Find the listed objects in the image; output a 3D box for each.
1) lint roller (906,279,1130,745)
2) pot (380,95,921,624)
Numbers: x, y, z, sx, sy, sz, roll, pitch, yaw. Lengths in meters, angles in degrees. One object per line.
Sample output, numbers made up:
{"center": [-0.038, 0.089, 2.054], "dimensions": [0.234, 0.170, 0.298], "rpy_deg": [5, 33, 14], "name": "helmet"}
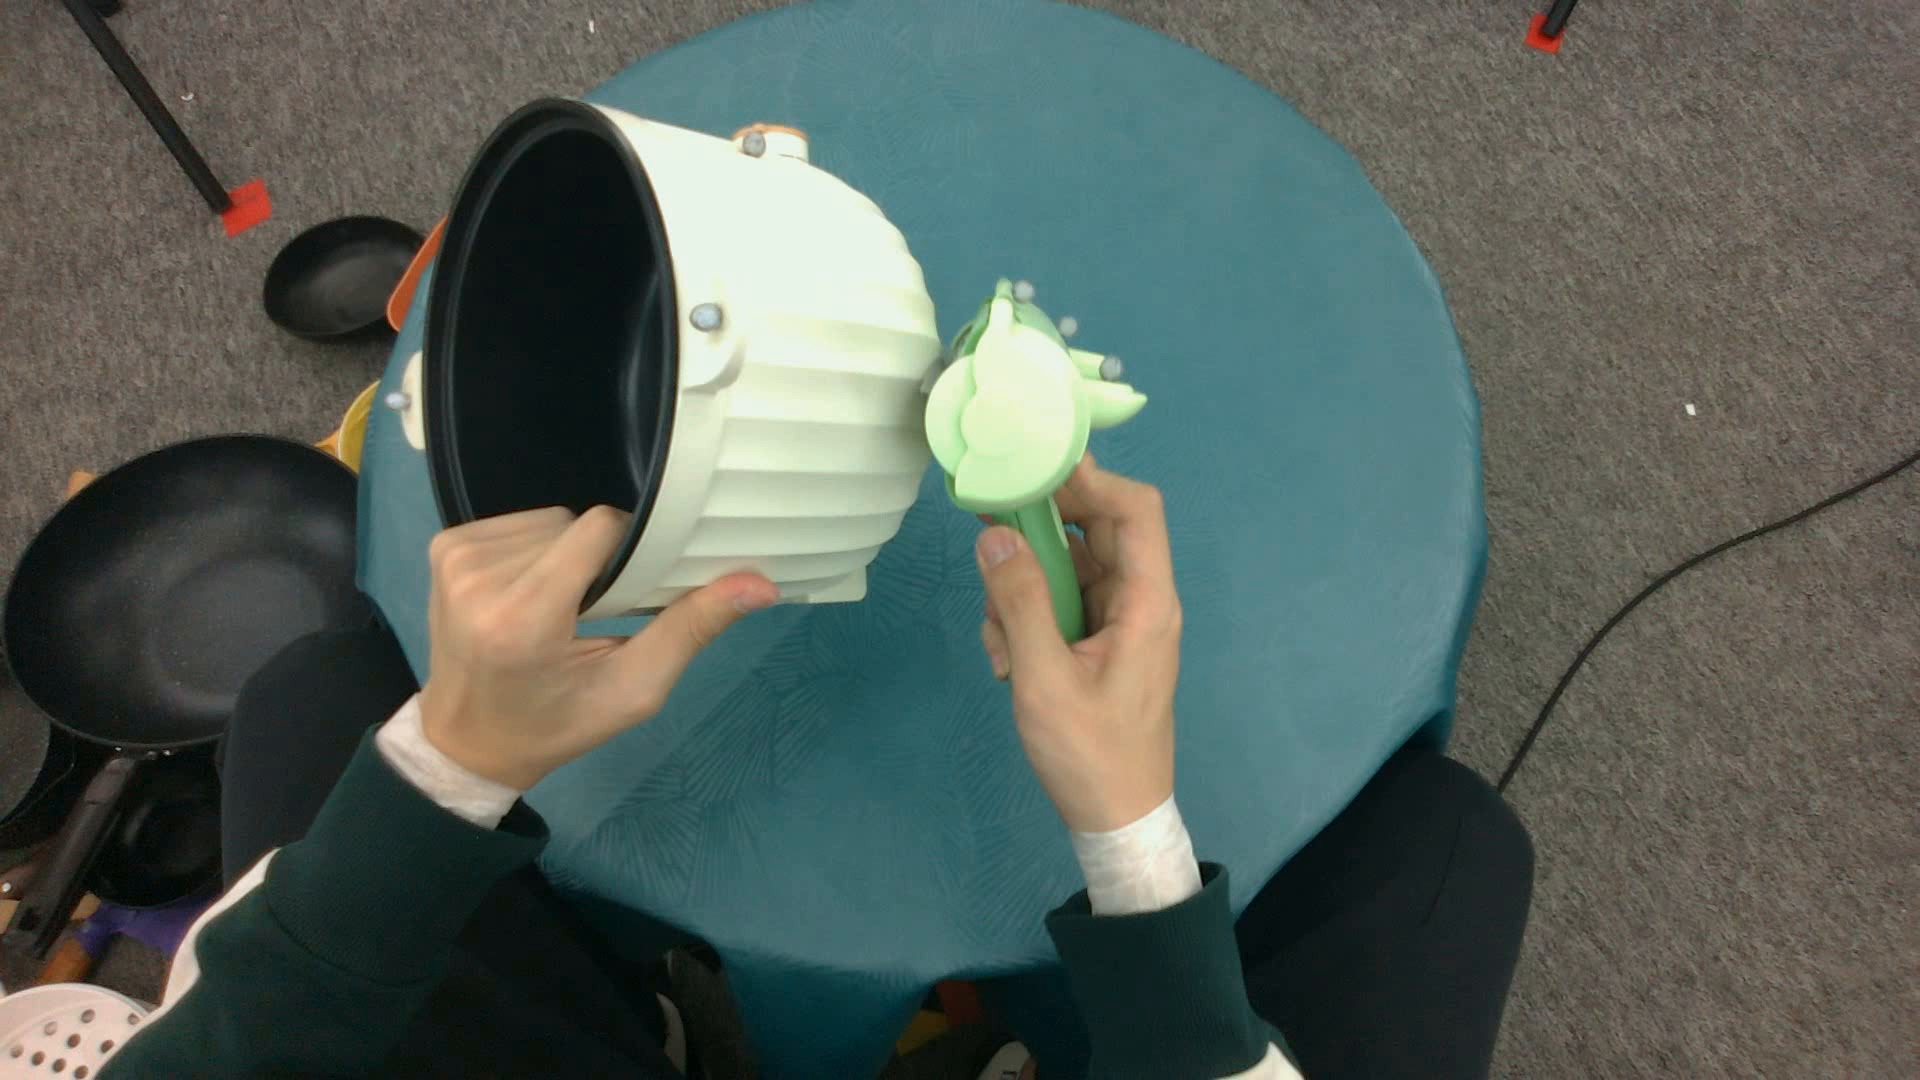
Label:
{"center": [0.035, -0.012, 0.542], "dimensions": [0.082, 0.199, 0.183], "rpy_deg": [-19, 101, 4], "name": "lint roller"}
{"center": [-0.110, -0.070, 0.525], "dimensions": [0.143, 0.239, 0.190], "rpy_deg": [-7, 91, -46], "name": "pot"}
